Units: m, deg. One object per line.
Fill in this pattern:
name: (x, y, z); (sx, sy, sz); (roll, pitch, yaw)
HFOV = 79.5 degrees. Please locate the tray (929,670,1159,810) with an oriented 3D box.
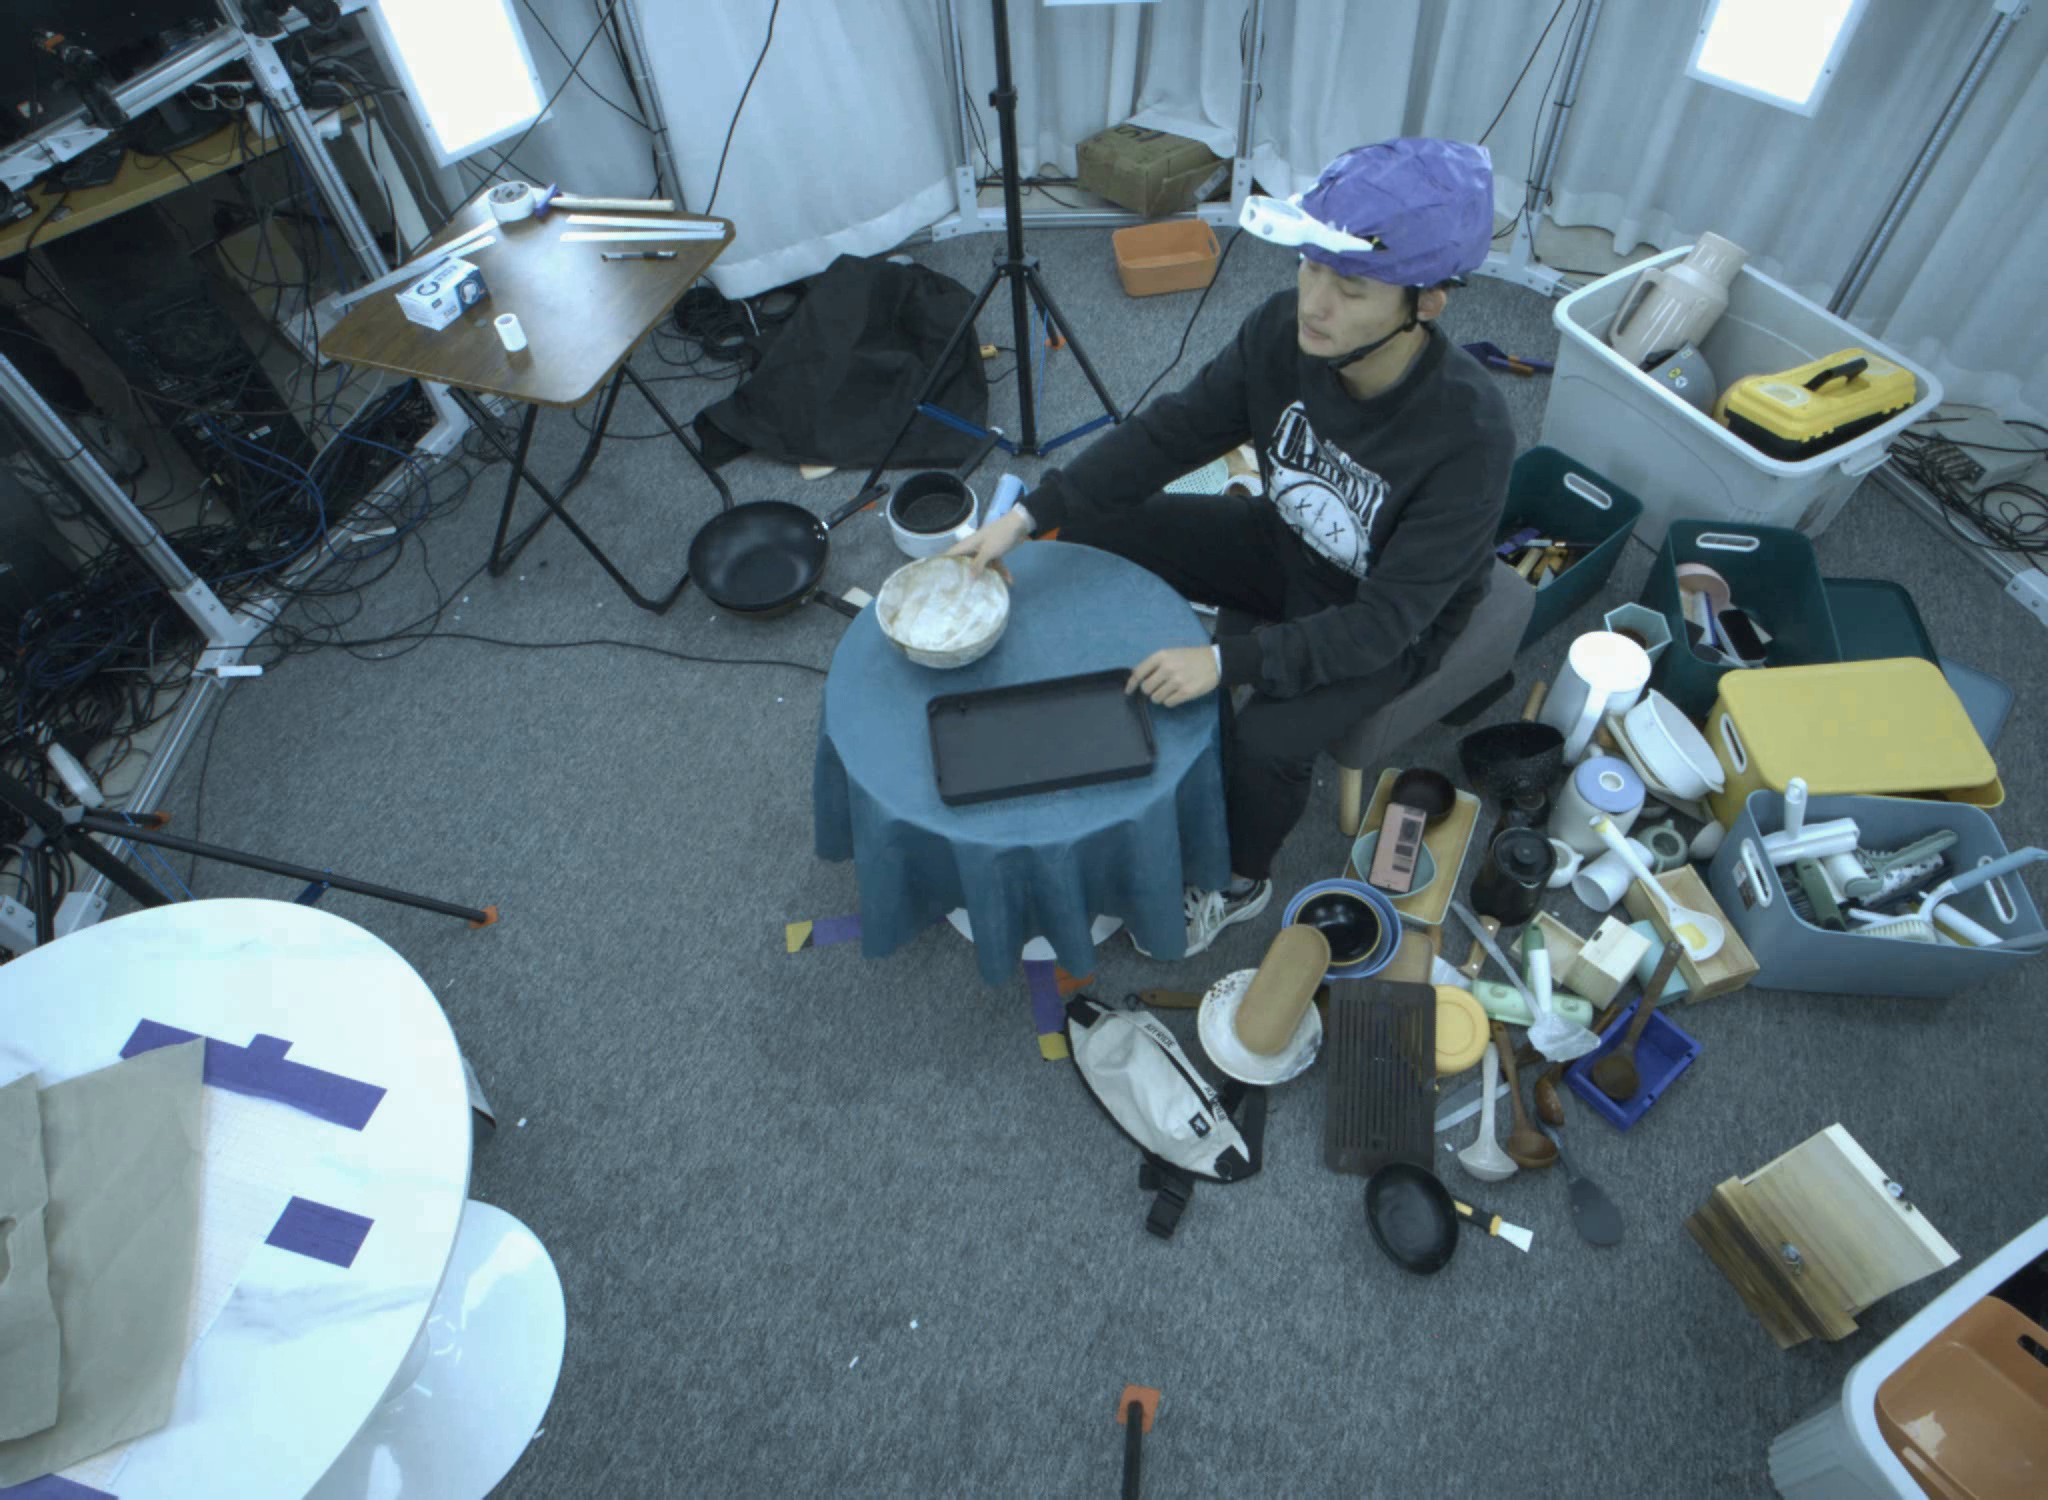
tray: (0.026, -0.016, 1.789); (0.318, 0.037, 0.182); (-8, 56, -2)

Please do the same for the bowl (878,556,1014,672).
bowl: (-0.114, -0.190, 1.877); (0.214, 0.095, 0.212); (-1, 54, 2)
